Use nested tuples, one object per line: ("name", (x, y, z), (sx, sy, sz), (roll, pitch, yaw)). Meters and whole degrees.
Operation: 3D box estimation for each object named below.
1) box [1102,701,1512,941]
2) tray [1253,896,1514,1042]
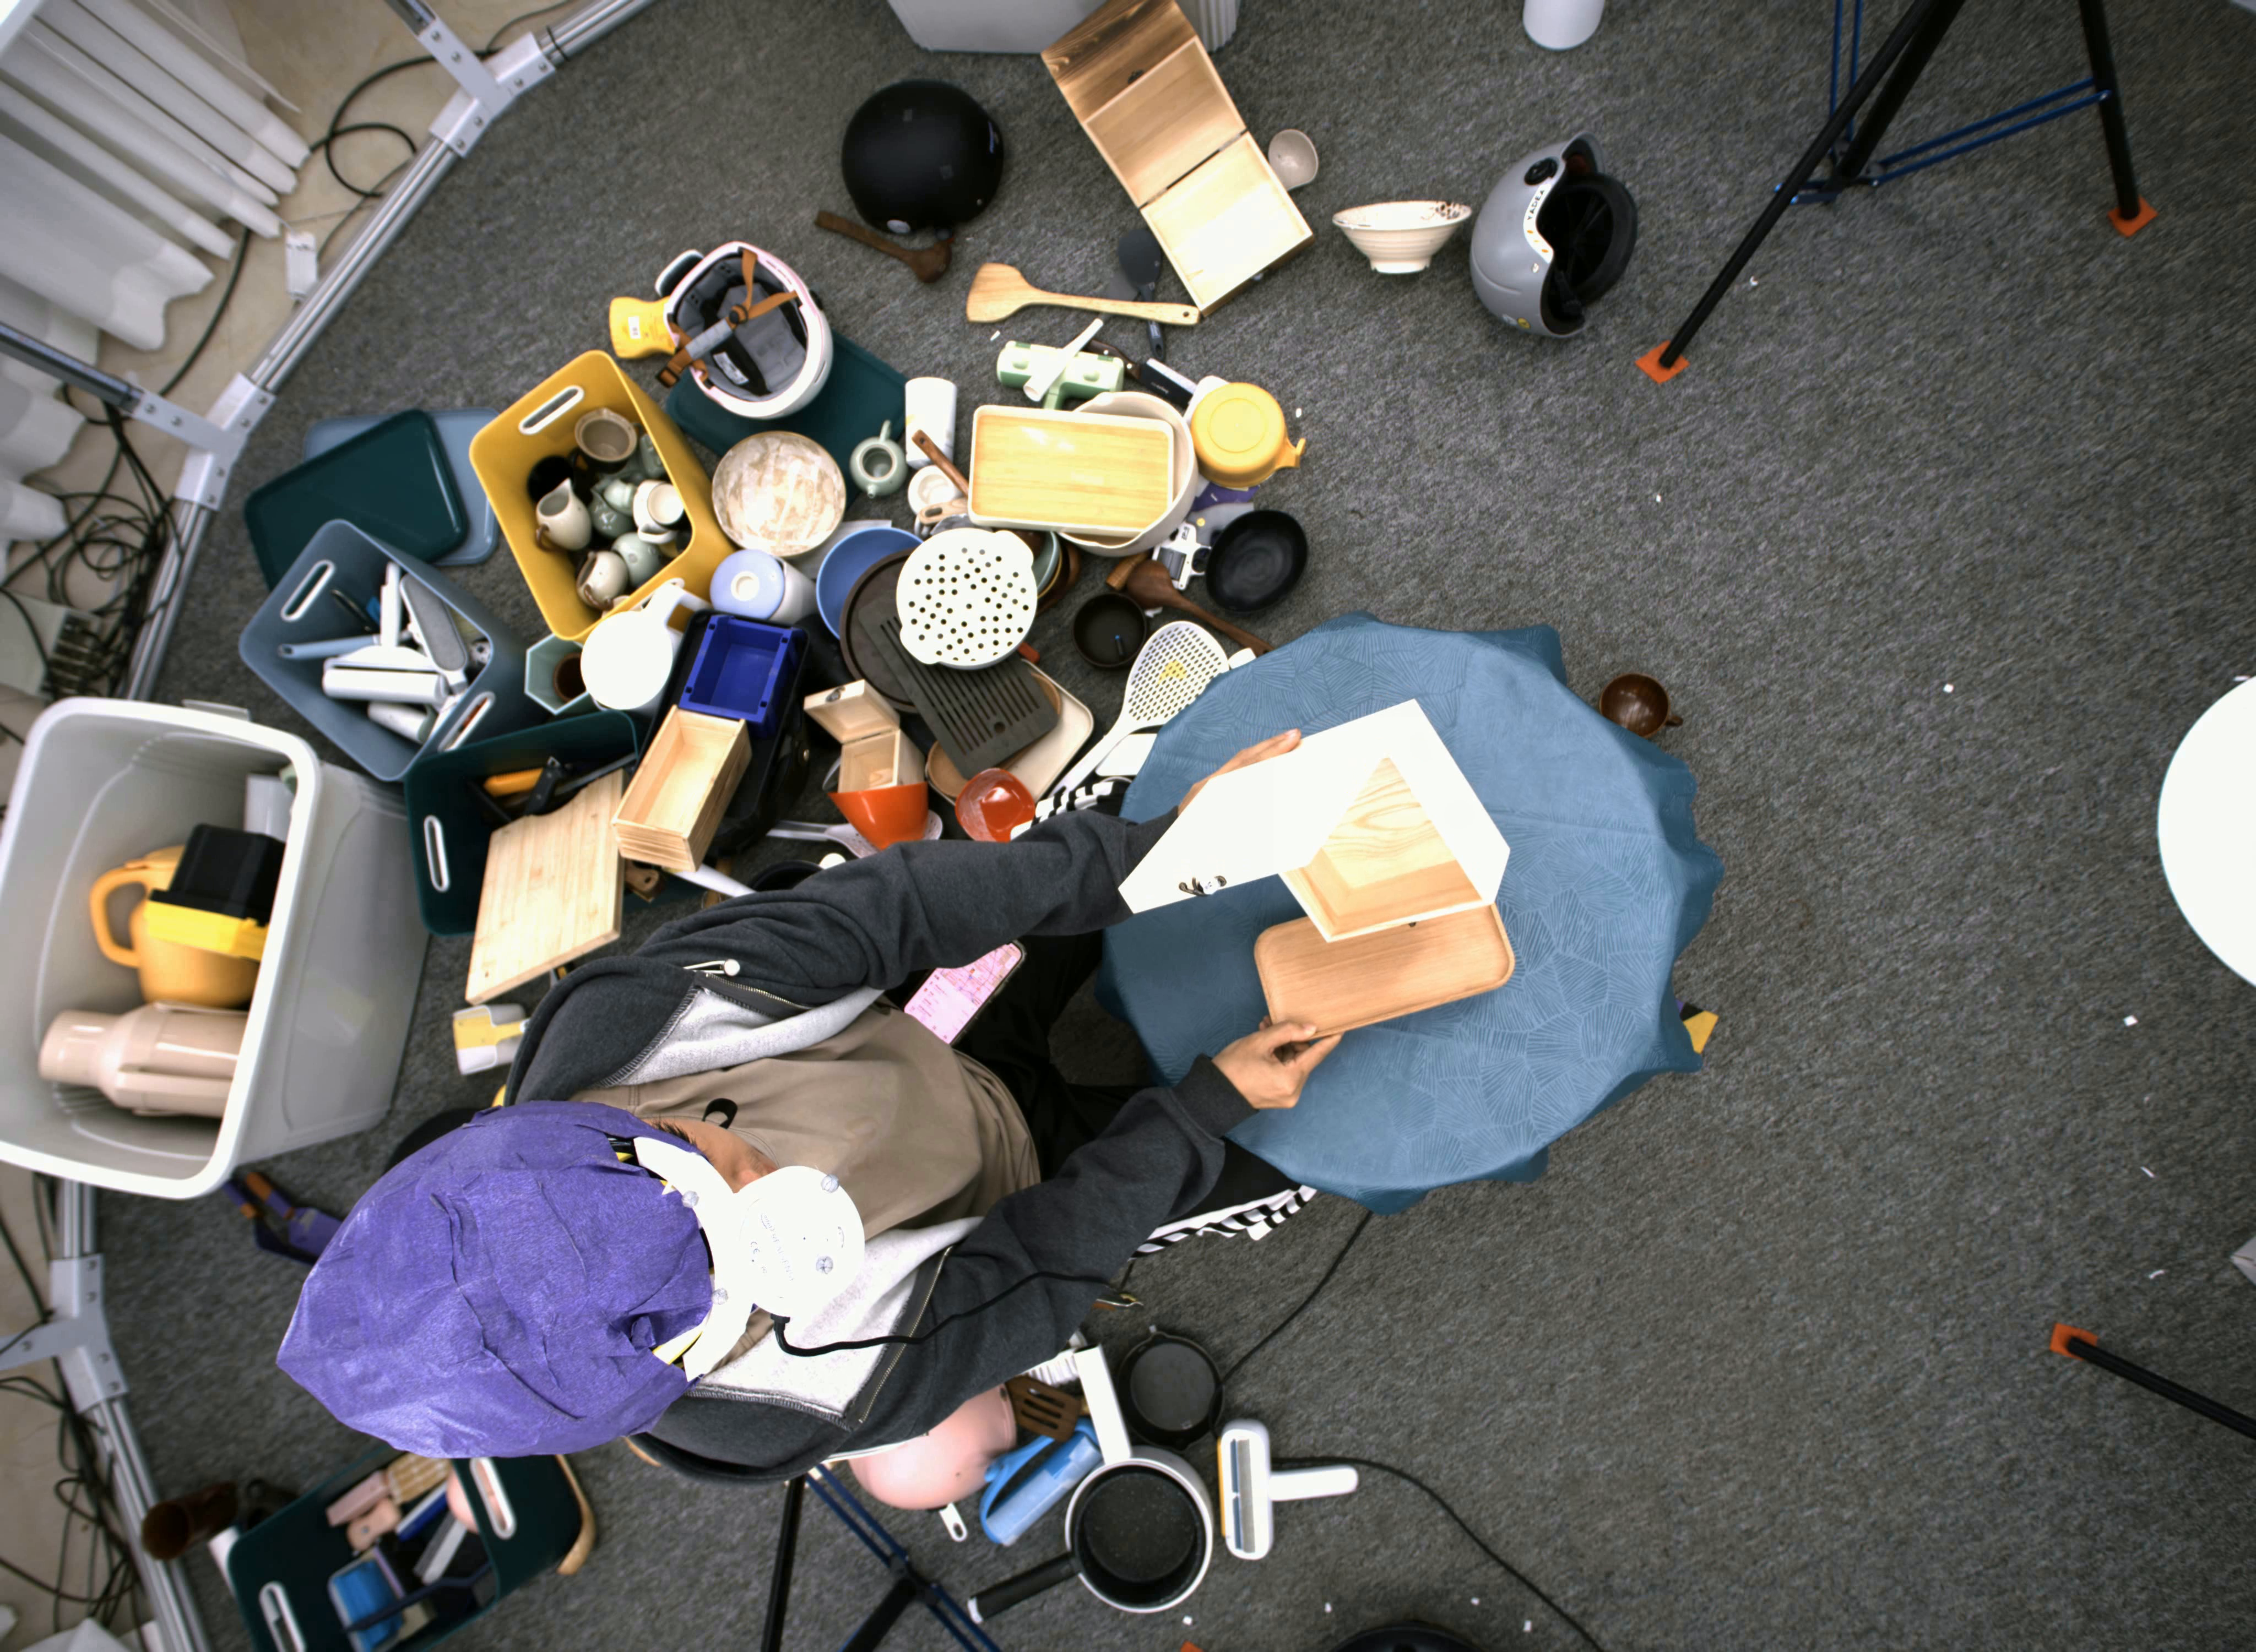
("box", (0.166, 0.026, 1.196), (0.184, 0.247, 0.268), (-16, 120, 44))
("tray", (0.258, 0.133, 1.405), (0.252, 0.023, 0.128), (-16, 64, 7))
